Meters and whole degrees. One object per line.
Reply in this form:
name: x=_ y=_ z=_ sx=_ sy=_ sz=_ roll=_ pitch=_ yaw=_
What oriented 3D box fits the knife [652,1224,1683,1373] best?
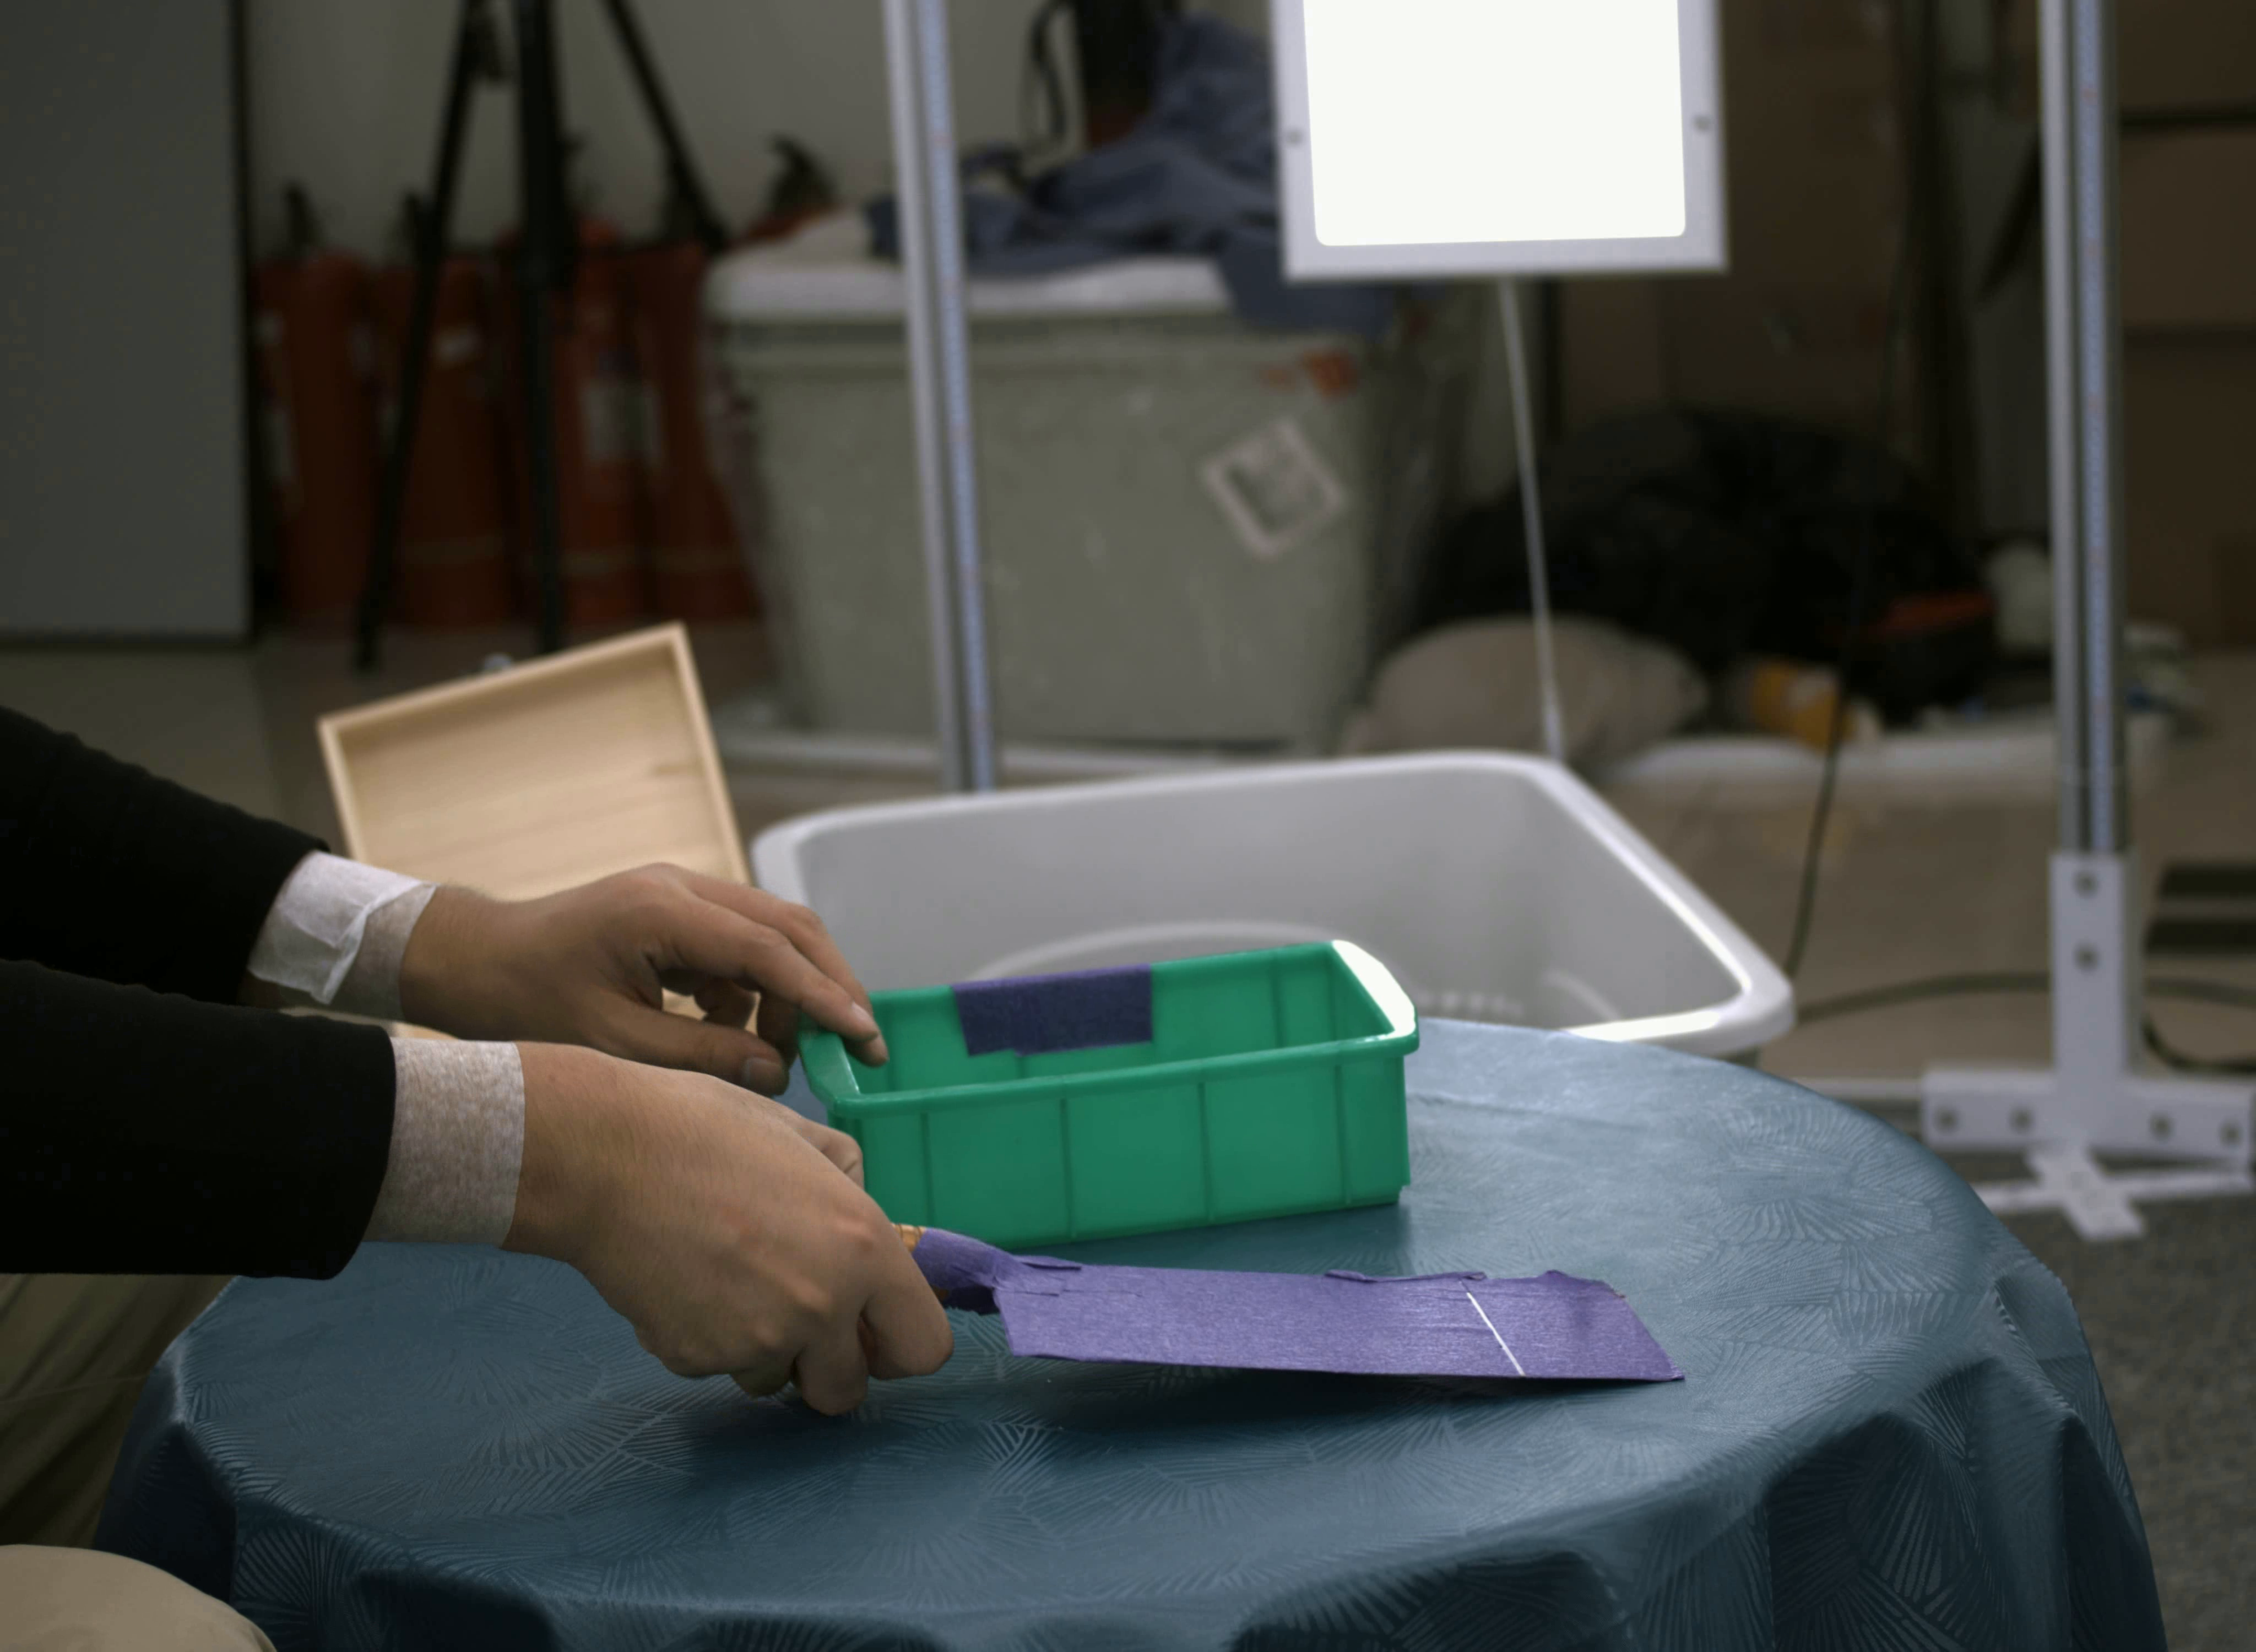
knife: x=0.012 y=0.146 z=1.697 sx=0.313 sy=0.032 sz=0.104 roll=0 pitch=13 yaw=-6

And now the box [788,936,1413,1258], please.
box: x=-0.008 y=0.095 z=1.900 sx=0.209 sy=0.065 sz=0.139 roll=-8 pitch=13 yaw=-6
